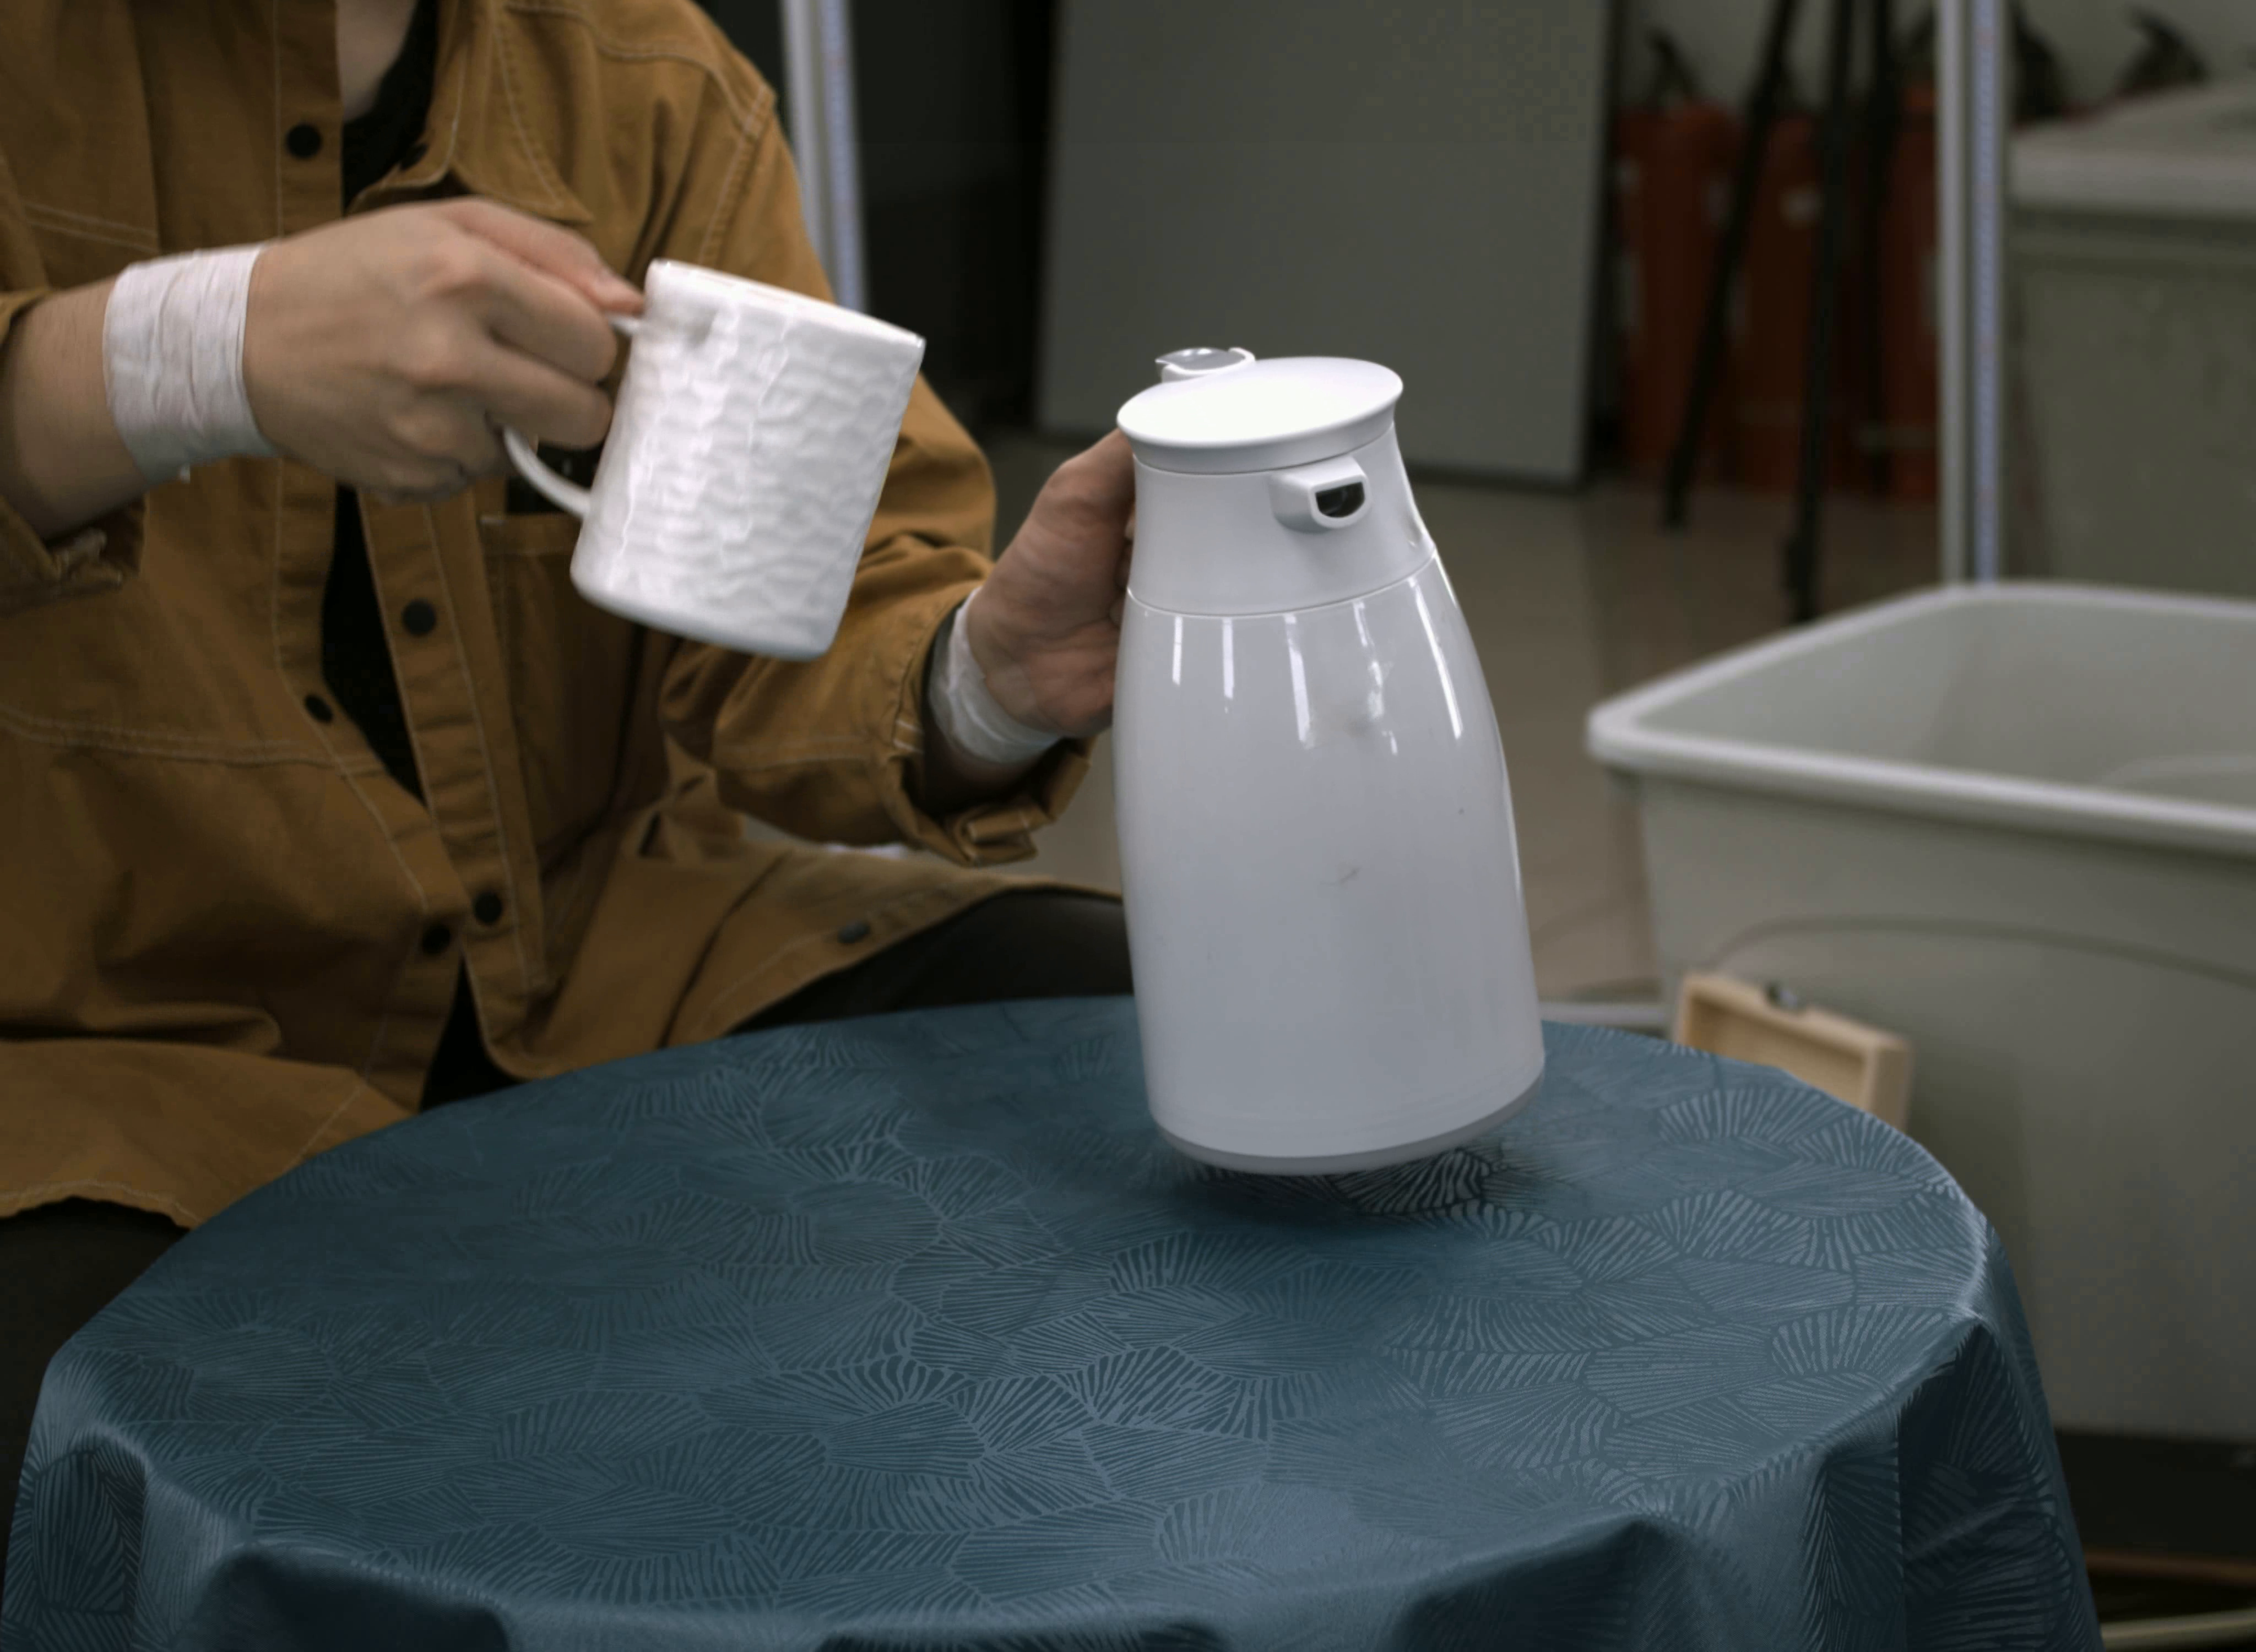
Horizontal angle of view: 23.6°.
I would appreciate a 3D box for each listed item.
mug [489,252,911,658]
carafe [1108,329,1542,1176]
[{"bbox_3d":[-0.133,-0.114,1.619,0.116,0.103,0.085,15,7,-6],"label":"mug"},{"bbox_3d":[0.047,-0.033,1.747,0.130,0.251,0.169,-15,19,-17],"label":"carafe"}]
